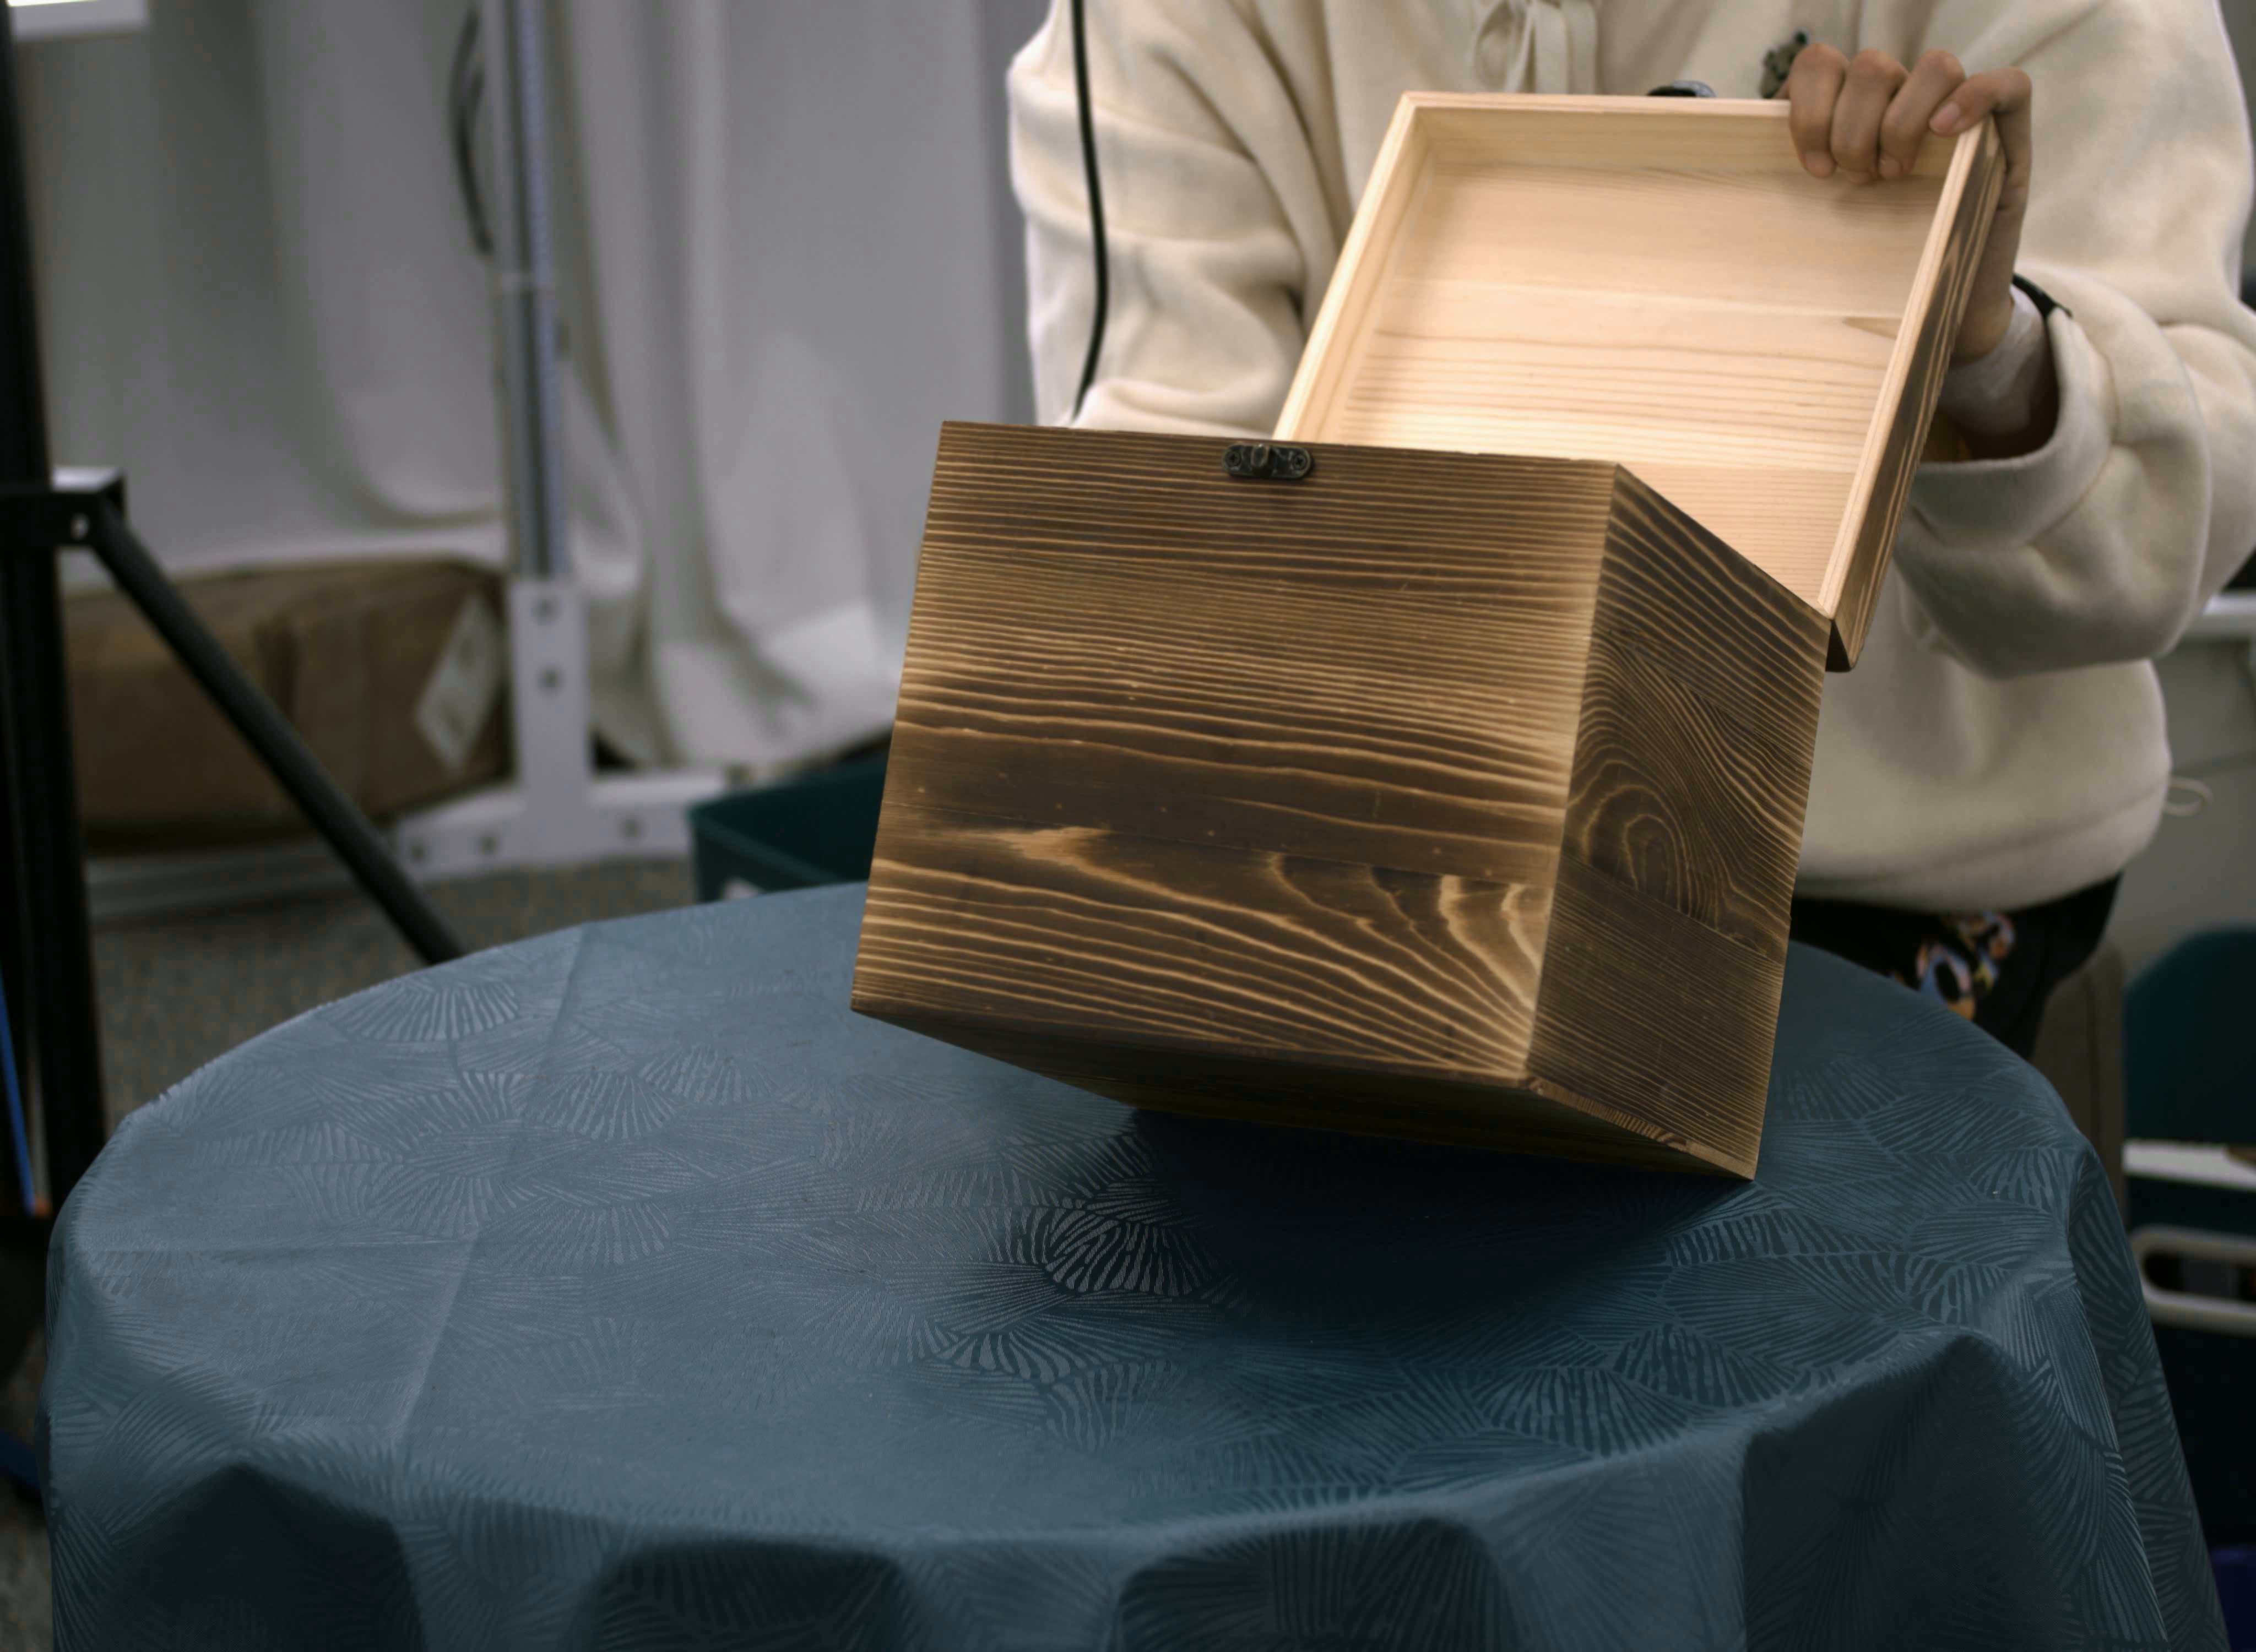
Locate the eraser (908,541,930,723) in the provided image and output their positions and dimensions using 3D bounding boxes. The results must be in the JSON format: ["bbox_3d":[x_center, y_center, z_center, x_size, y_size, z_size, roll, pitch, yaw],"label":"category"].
[{"bbox_3d":[-0.013,-0.062,1.658,0.029,0.057,0.136,1,3,40],"label":"eraser"}]

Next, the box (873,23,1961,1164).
[{"bbox_3d":[0.098,-0.092,1.569,0.212,0.377,0.315,4,-9,25],"label":"box"}]
